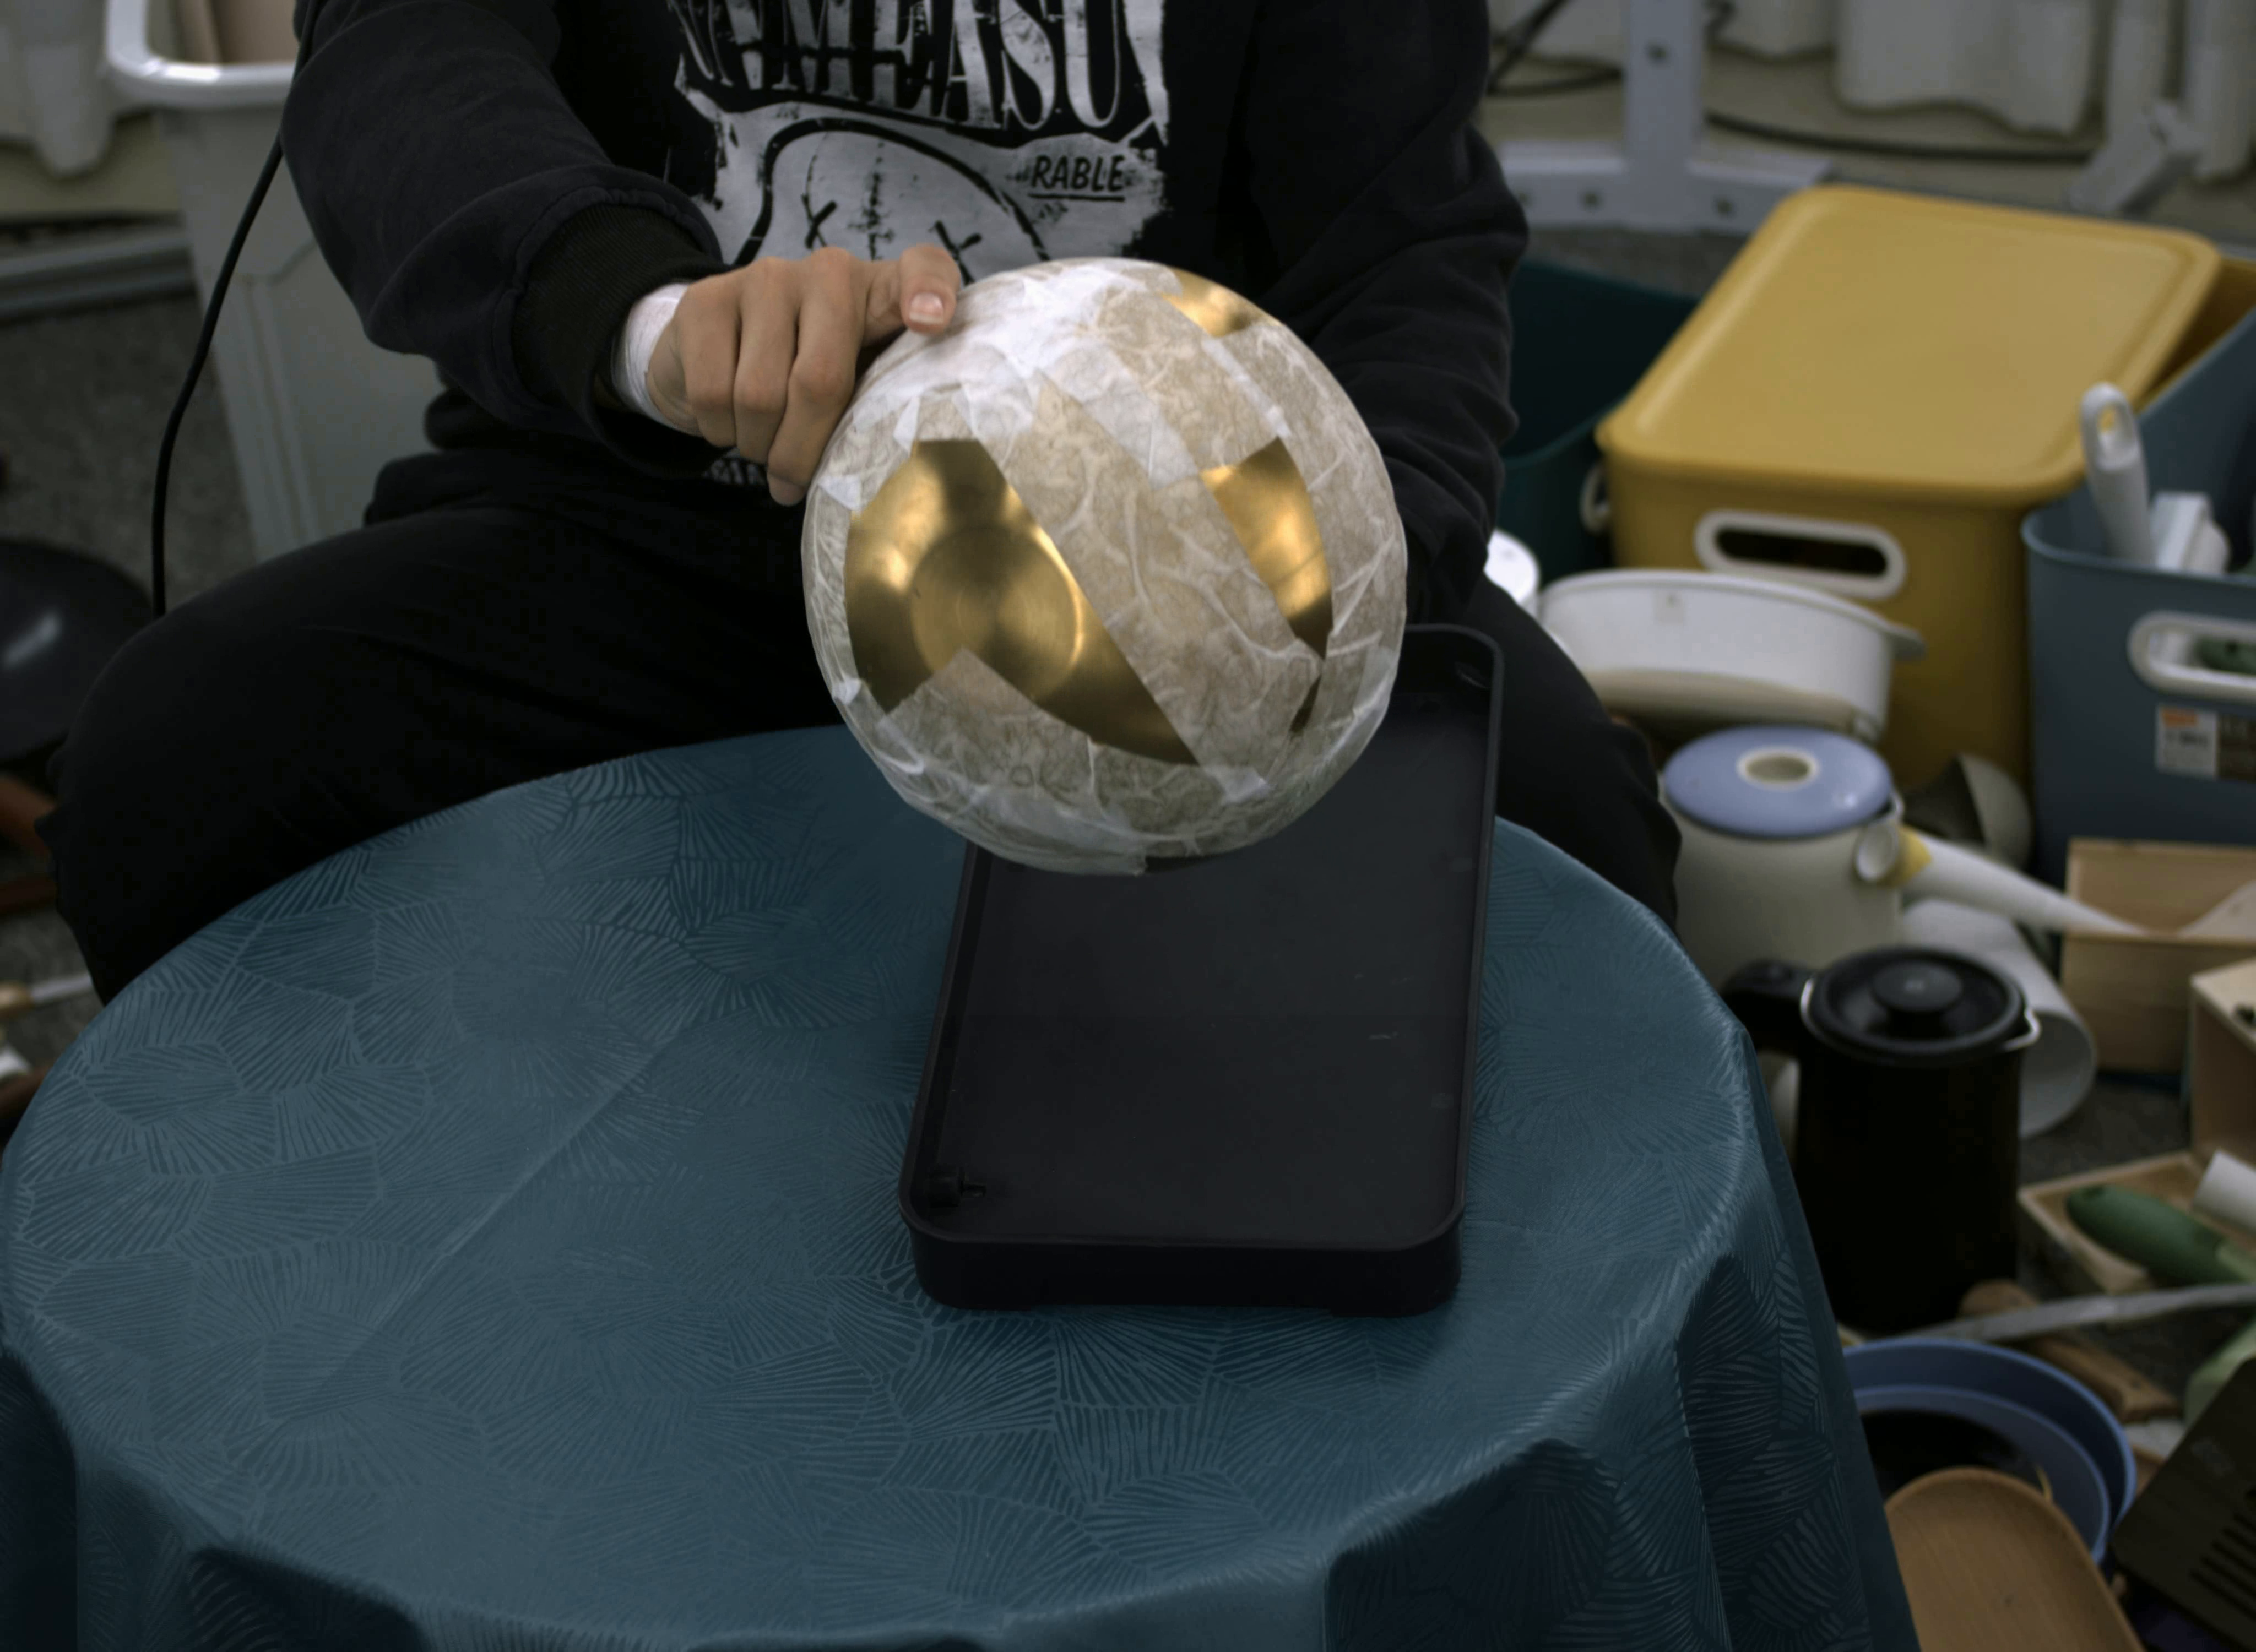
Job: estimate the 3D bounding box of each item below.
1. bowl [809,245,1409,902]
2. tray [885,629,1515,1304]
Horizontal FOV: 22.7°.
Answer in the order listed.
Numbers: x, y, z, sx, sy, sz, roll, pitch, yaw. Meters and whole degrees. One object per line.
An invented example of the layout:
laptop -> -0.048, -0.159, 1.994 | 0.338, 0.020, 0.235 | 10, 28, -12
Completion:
bowl -> -0.024, -0.071, 1.768 | 0.213, 0.213, 0.095 | 10, 17, 24
tray -> 0.031, 0.042, 1.901 | 0.183, 0.036, 0.324 | 0, 37, 9
